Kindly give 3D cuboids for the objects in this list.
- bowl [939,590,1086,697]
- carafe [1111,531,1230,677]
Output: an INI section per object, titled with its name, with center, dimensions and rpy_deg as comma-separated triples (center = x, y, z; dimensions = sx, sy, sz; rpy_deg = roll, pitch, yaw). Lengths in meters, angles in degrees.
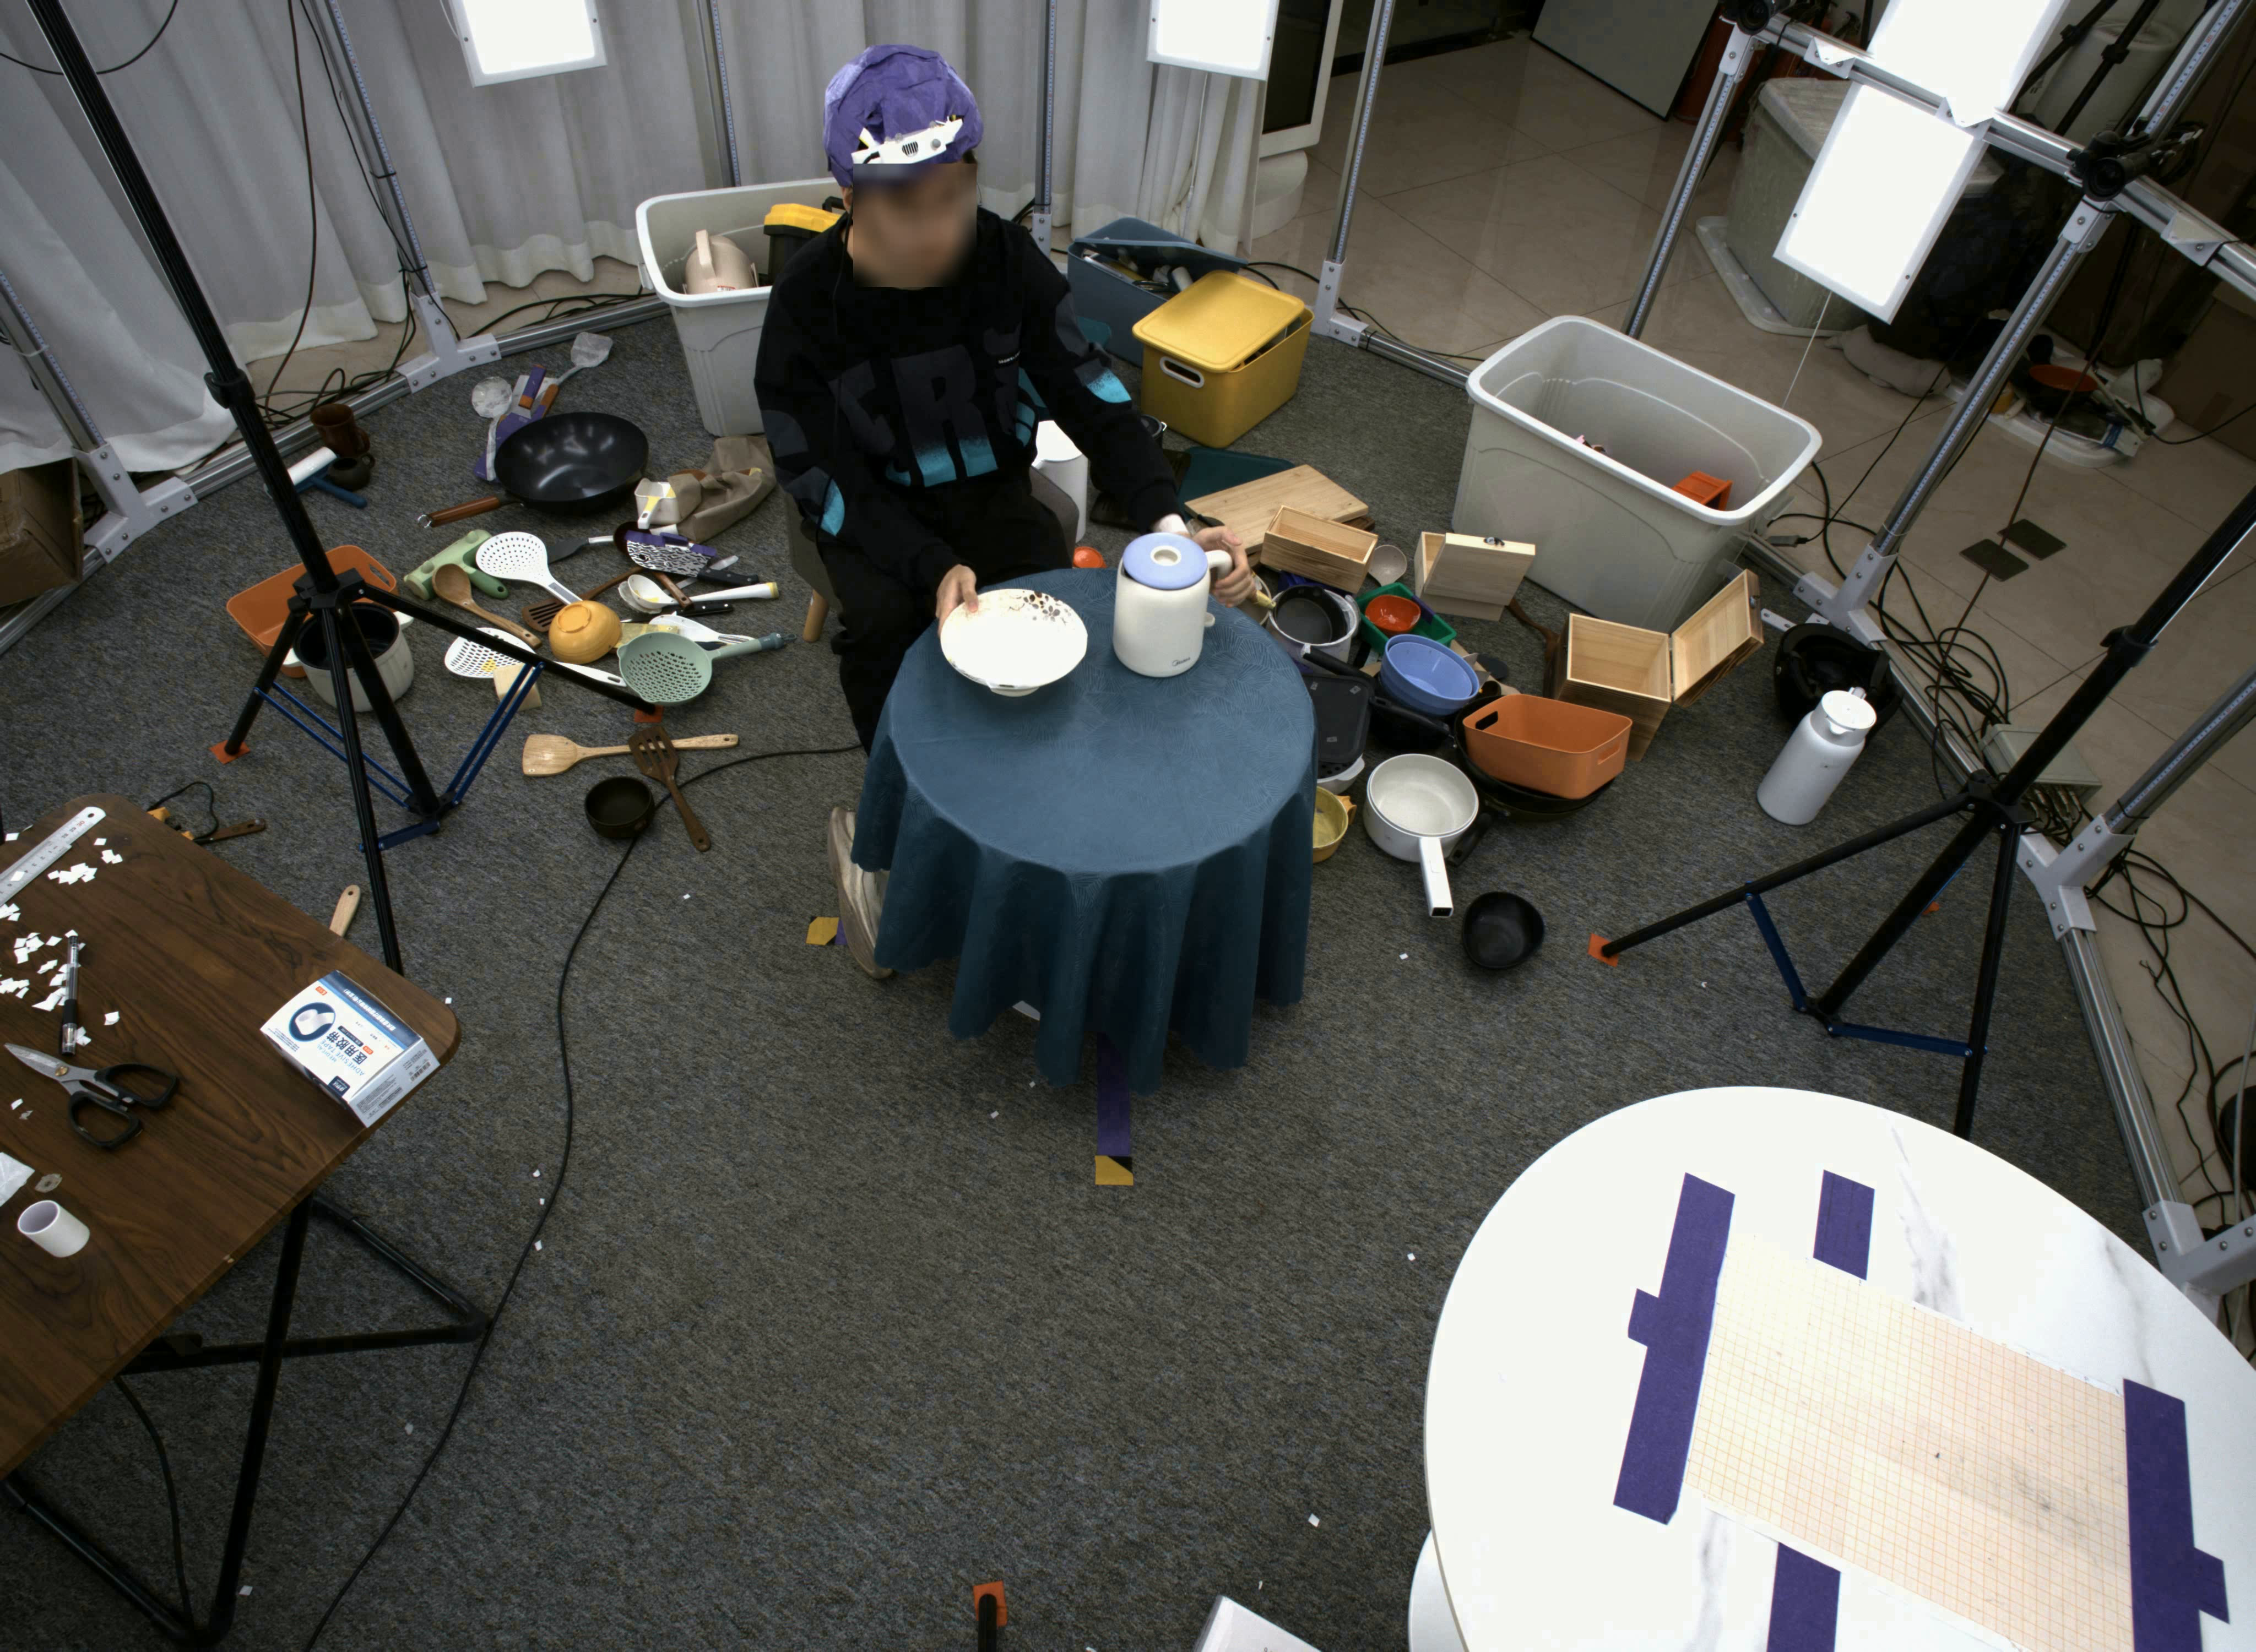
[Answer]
[bowl]
center = -0.161, -0.239, 1.813
dimensions = 0.204, 0.076, 0.209
rpy_deg = 1, 47, -2
[carafe]
center = 0.067, -0.325, 1.844
dimensions = 0.192, 0.178, 0.135
rpy_deg = -22, 55, -24
